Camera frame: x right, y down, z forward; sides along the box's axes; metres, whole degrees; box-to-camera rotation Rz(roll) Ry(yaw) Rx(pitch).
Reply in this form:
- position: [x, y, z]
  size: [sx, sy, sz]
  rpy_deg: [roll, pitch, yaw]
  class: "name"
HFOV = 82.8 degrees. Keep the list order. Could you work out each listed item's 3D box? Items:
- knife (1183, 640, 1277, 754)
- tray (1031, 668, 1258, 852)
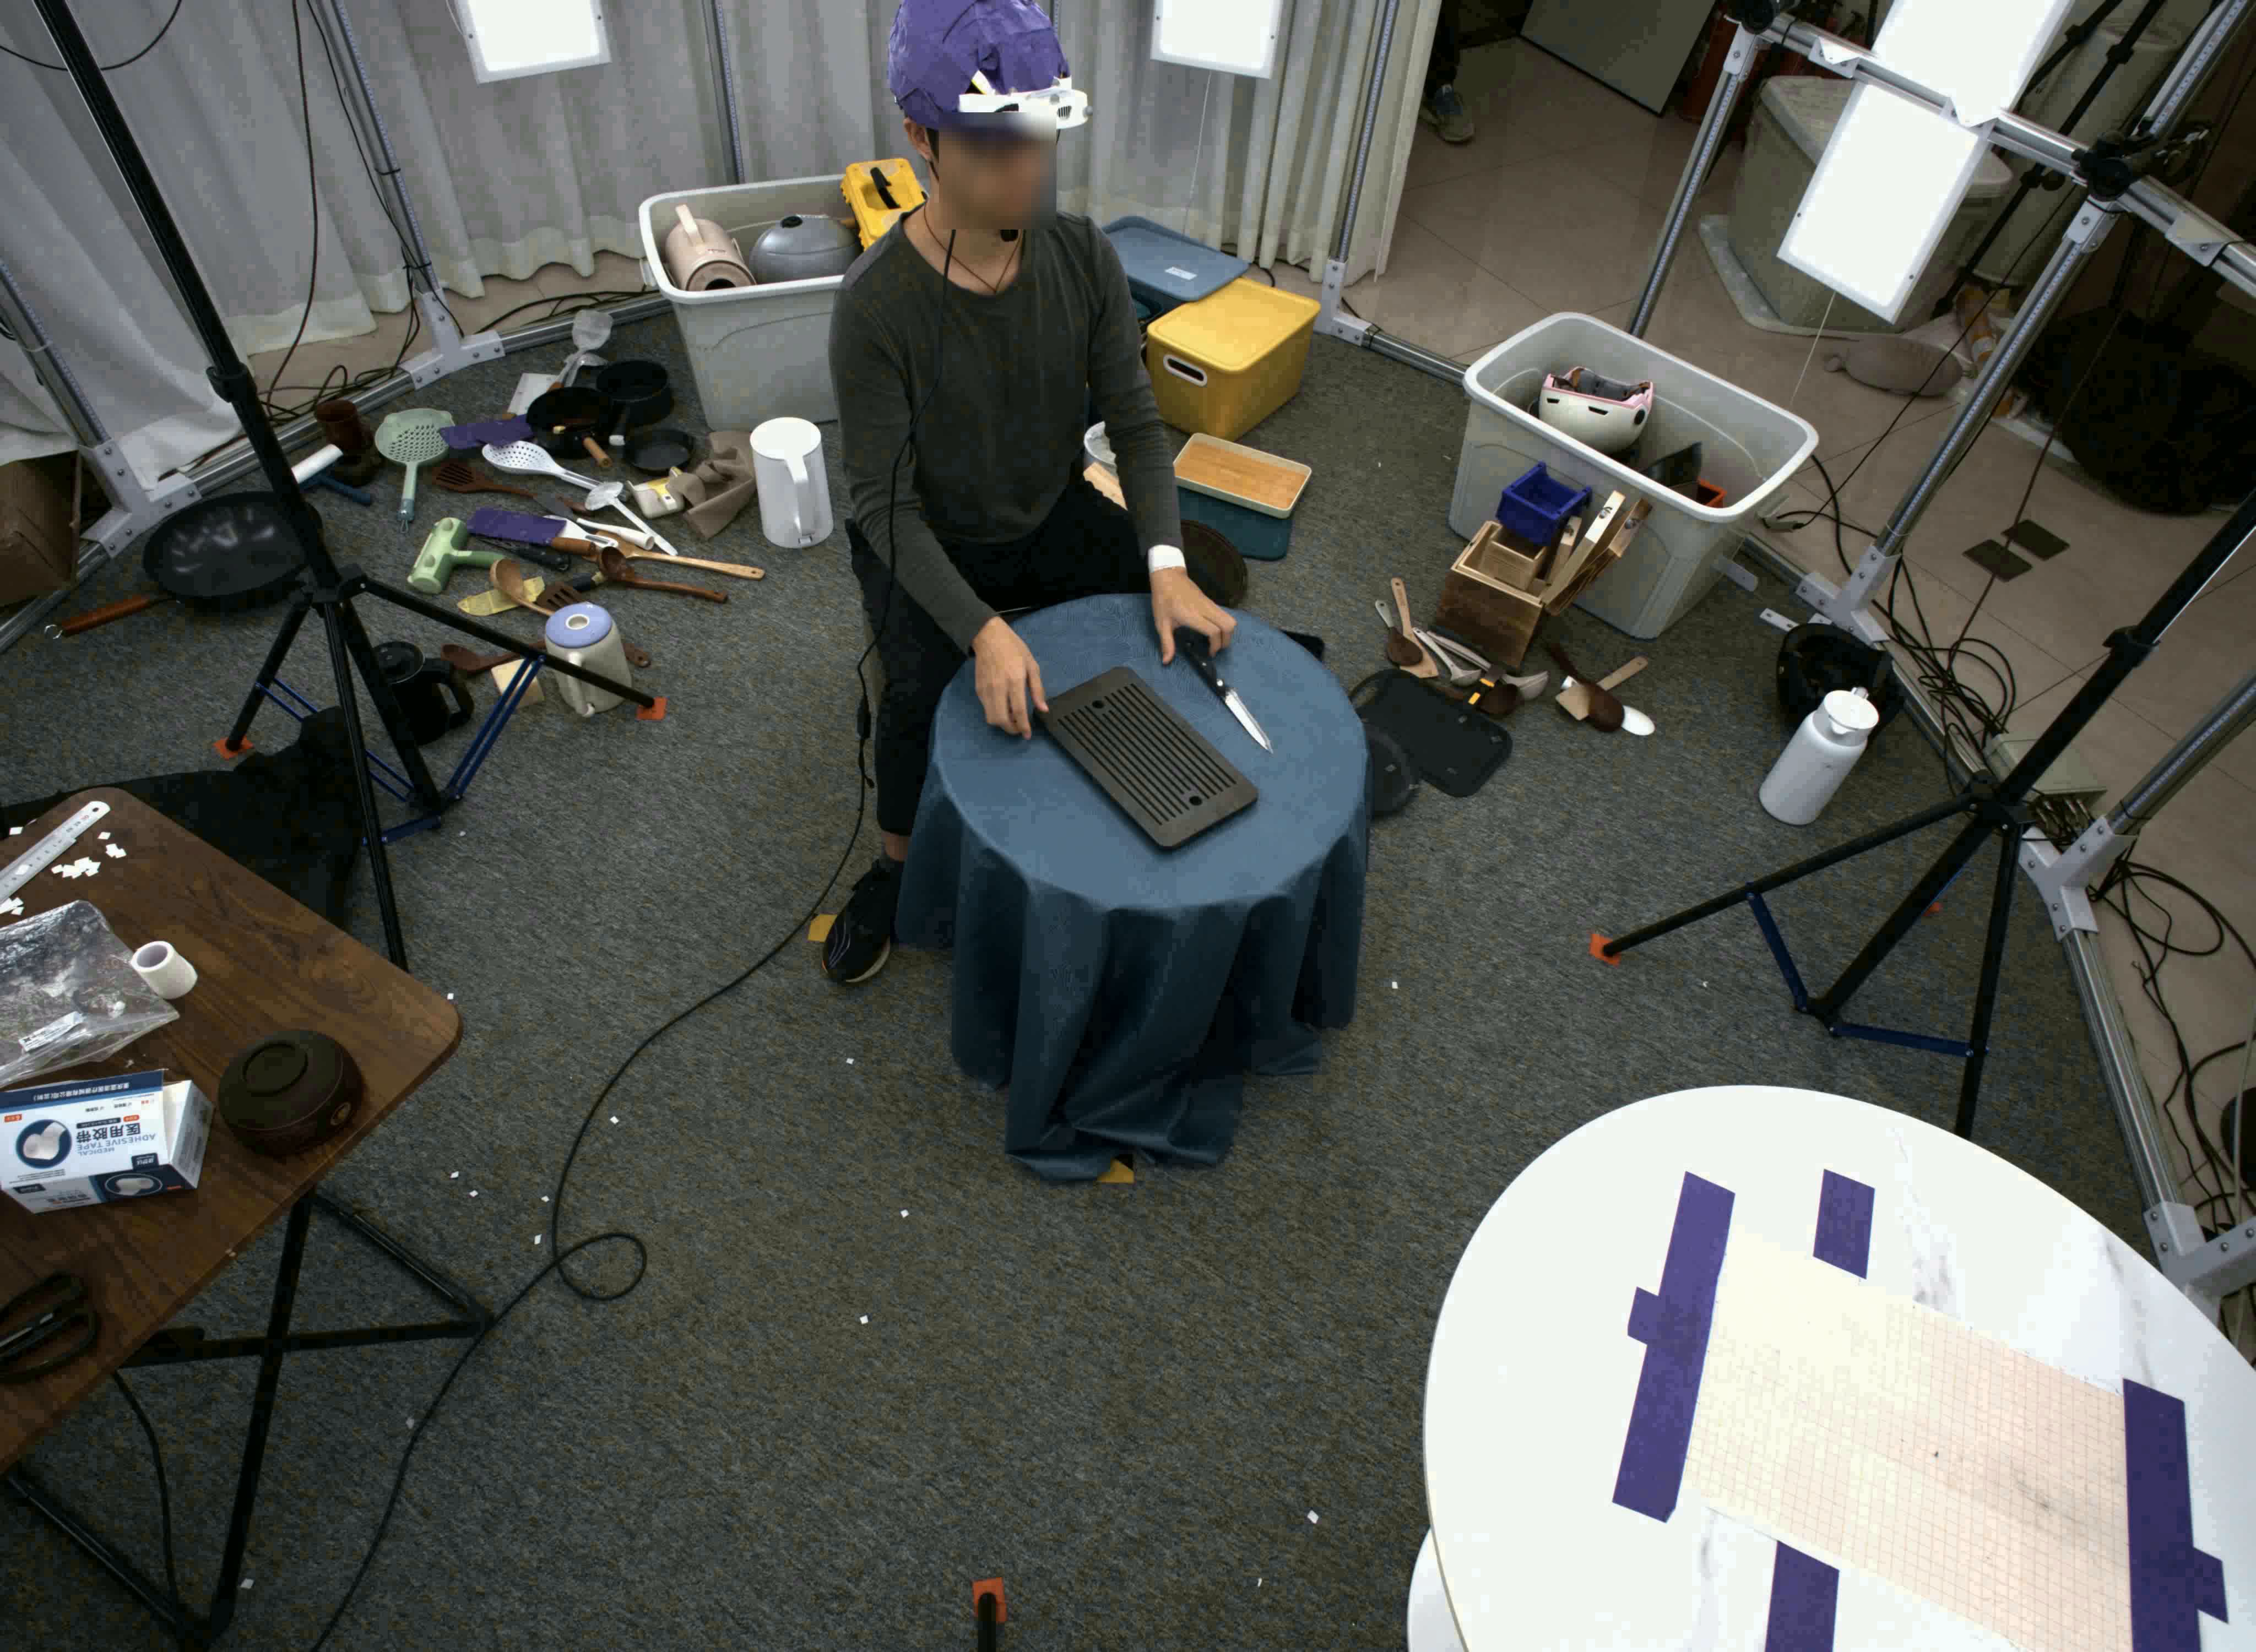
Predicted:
- position: [0.144, -0.185, 1.830]
  size: [0.024, 0.016, 0.243]
  rpy_deg: [-21, 56, -21]
  class: "knife"
- position: [0.019, -0.095, 1.739]
  size: [0.171, 0.018, 0.311]
  rpy_deg: [-28, 56, -25]
  class: "tray"
